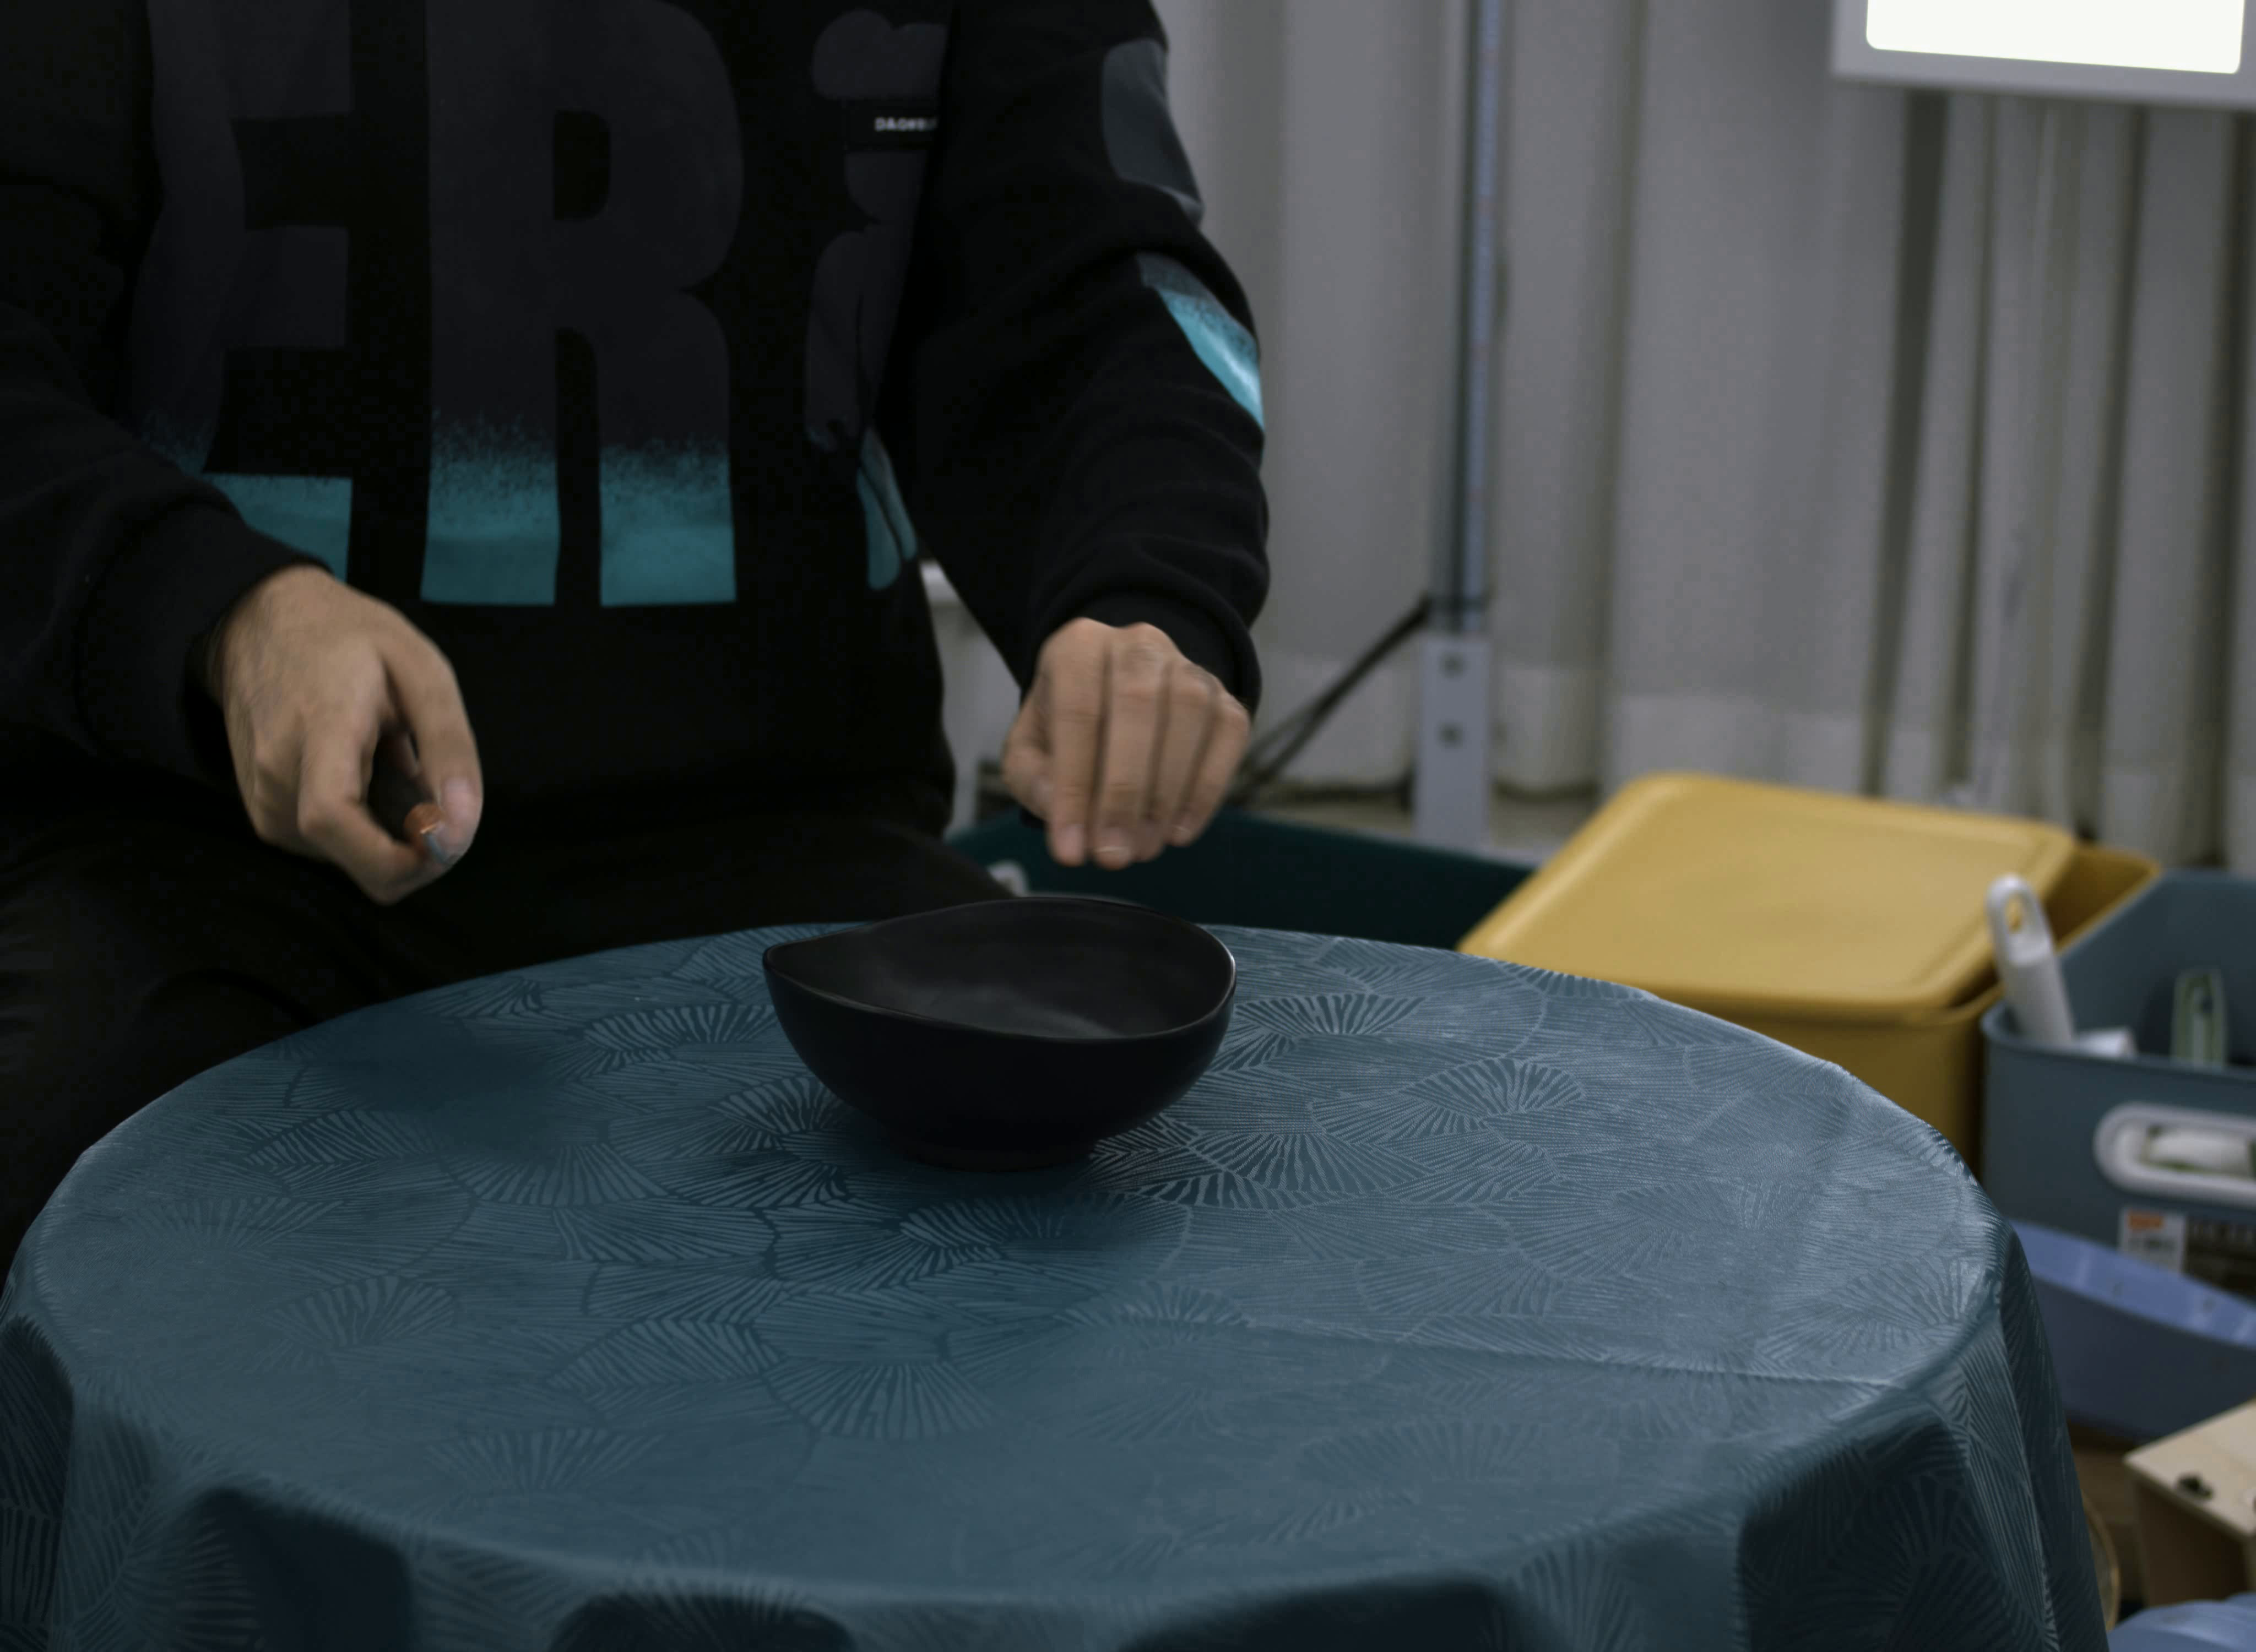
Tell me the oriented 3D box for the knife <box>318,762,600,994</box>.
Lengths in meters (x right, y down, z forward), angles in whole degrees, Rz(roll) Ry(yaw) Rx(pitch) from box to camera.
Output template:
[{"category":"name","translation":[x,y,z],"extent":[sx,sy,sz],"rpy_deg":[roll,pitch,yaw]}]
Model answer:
[{"category":"knife","translation":[-0.211,0.014,1.641],"extent":[0.017,0.026,0.222],"rpy_deg":[-44,30,-9]}]

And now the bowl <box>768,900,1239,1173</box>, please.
[{"category":"bowl","translation":[-0.041,0.069,1.656],"extent":[0.138,0.067,0.168],"rpy_deg":[-13,18,-40]}]
